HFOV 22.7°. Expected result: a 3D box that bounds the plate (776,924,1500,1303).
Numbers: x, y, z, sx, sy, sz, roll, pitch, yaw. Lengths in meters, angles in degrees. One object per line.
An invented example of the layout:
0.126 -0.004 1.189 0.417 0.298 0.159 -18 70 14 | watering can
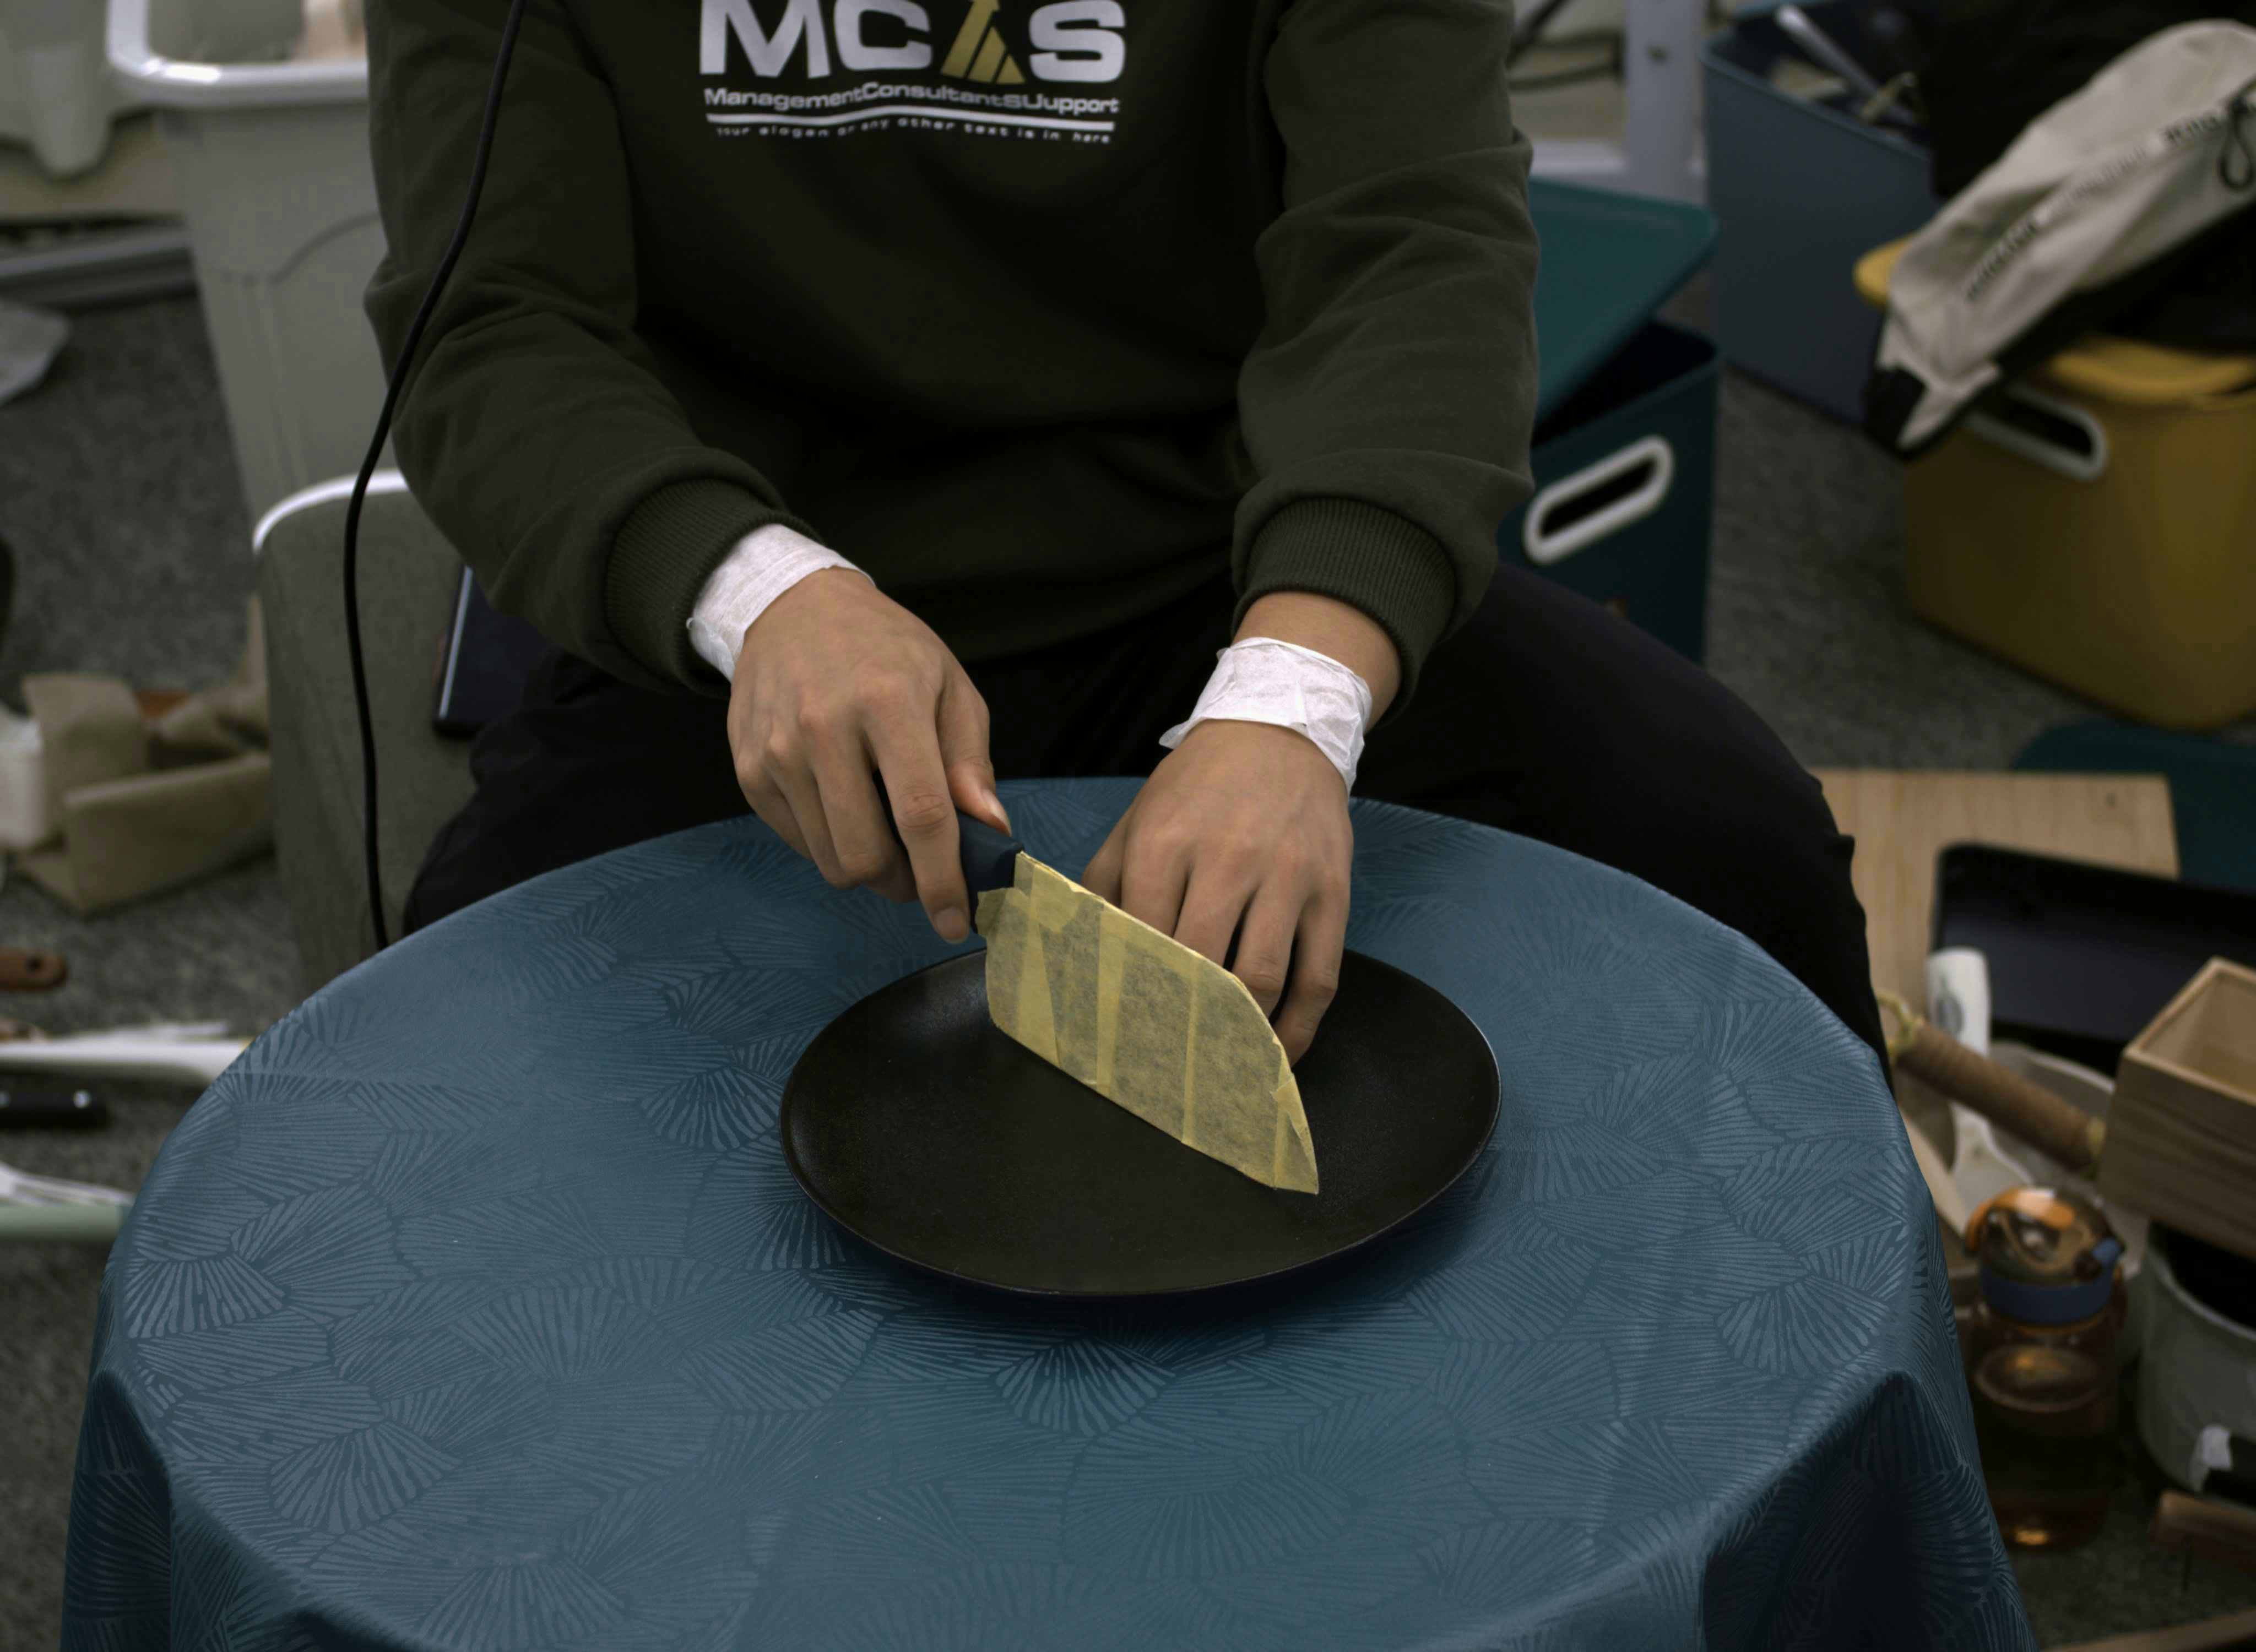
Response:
0.003 0.100 1.878 0.243 0.023 0.248 -2 27 1 | plate

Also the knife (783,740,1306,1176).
-0.030 0.042 1.913 0.027 0.080 0.290 -13 32 -36 | knife
